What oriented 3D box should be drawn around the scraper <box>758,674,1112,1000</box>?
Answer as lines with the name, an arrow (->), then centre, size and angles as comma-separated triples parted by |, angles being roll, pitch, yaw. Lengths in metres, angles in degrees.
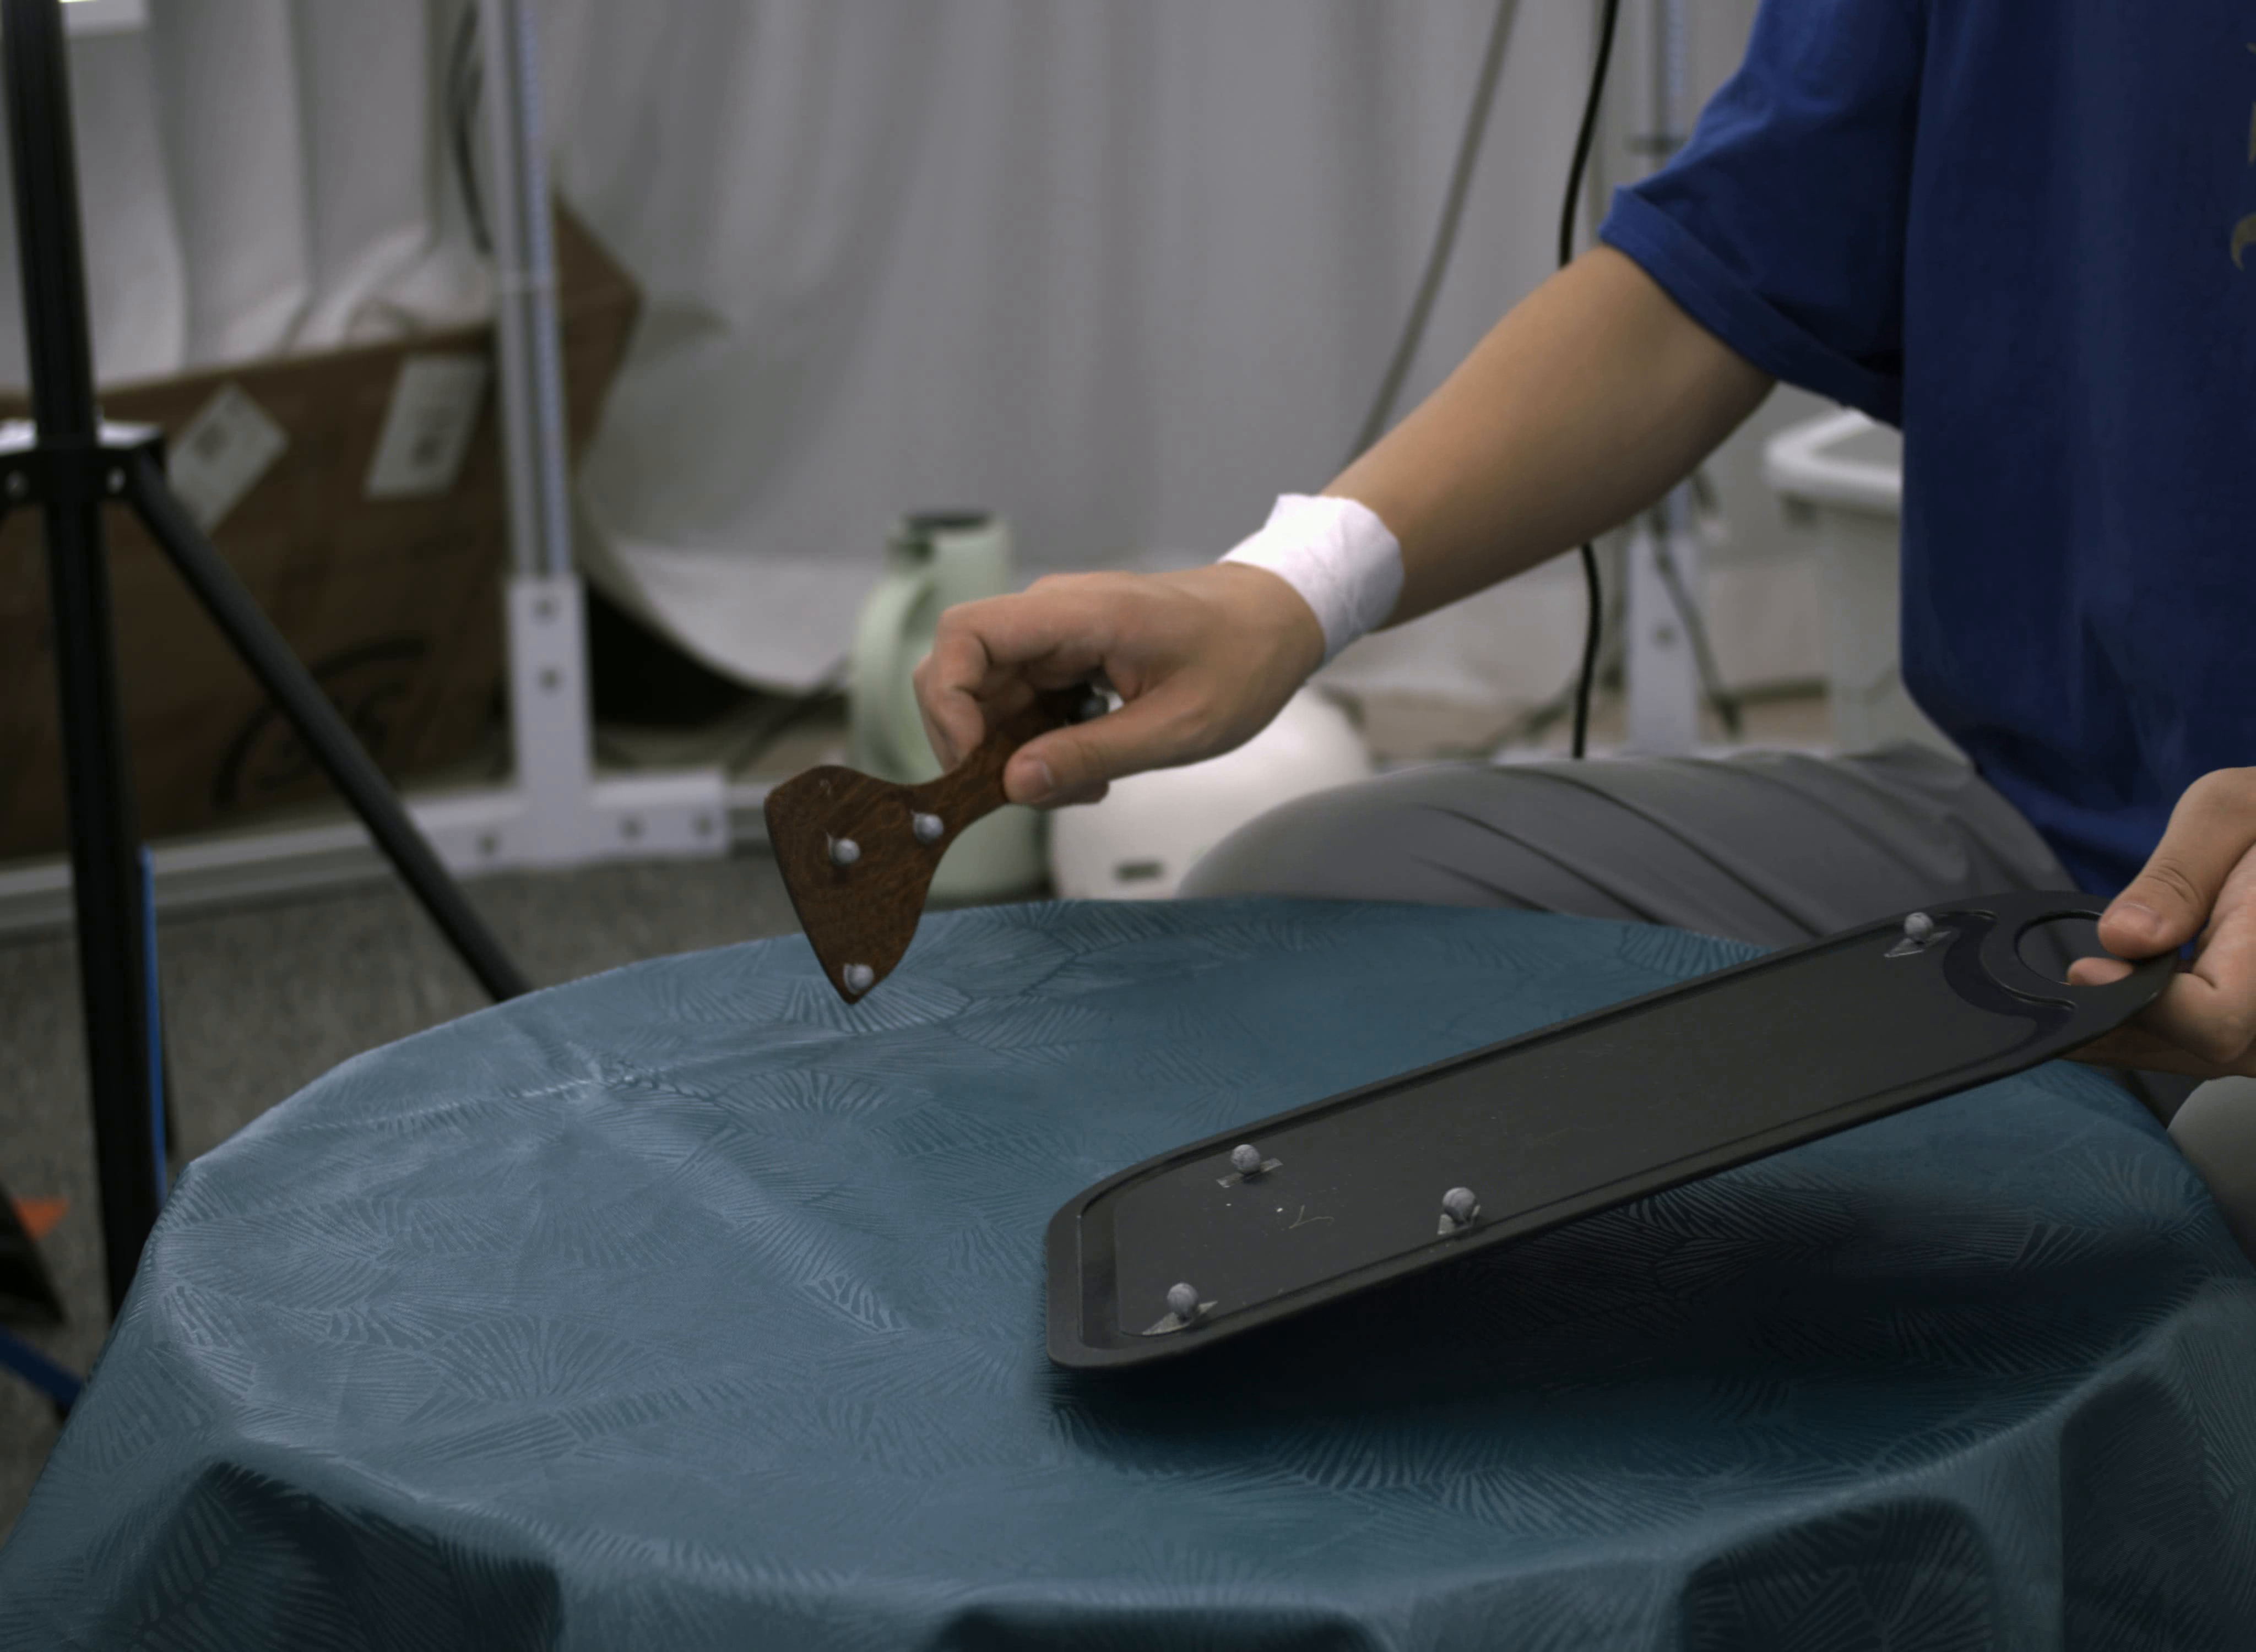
scraper -> -0.059, -0.008, 1.753 | 0.011, 0.076, 0.208 | -19, 8, 34

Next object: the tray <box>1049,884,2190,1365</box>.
tray -> 0.133, 0.075, 1.450 | 0.325, 0.010, 0.211 | -18, 10, 5
